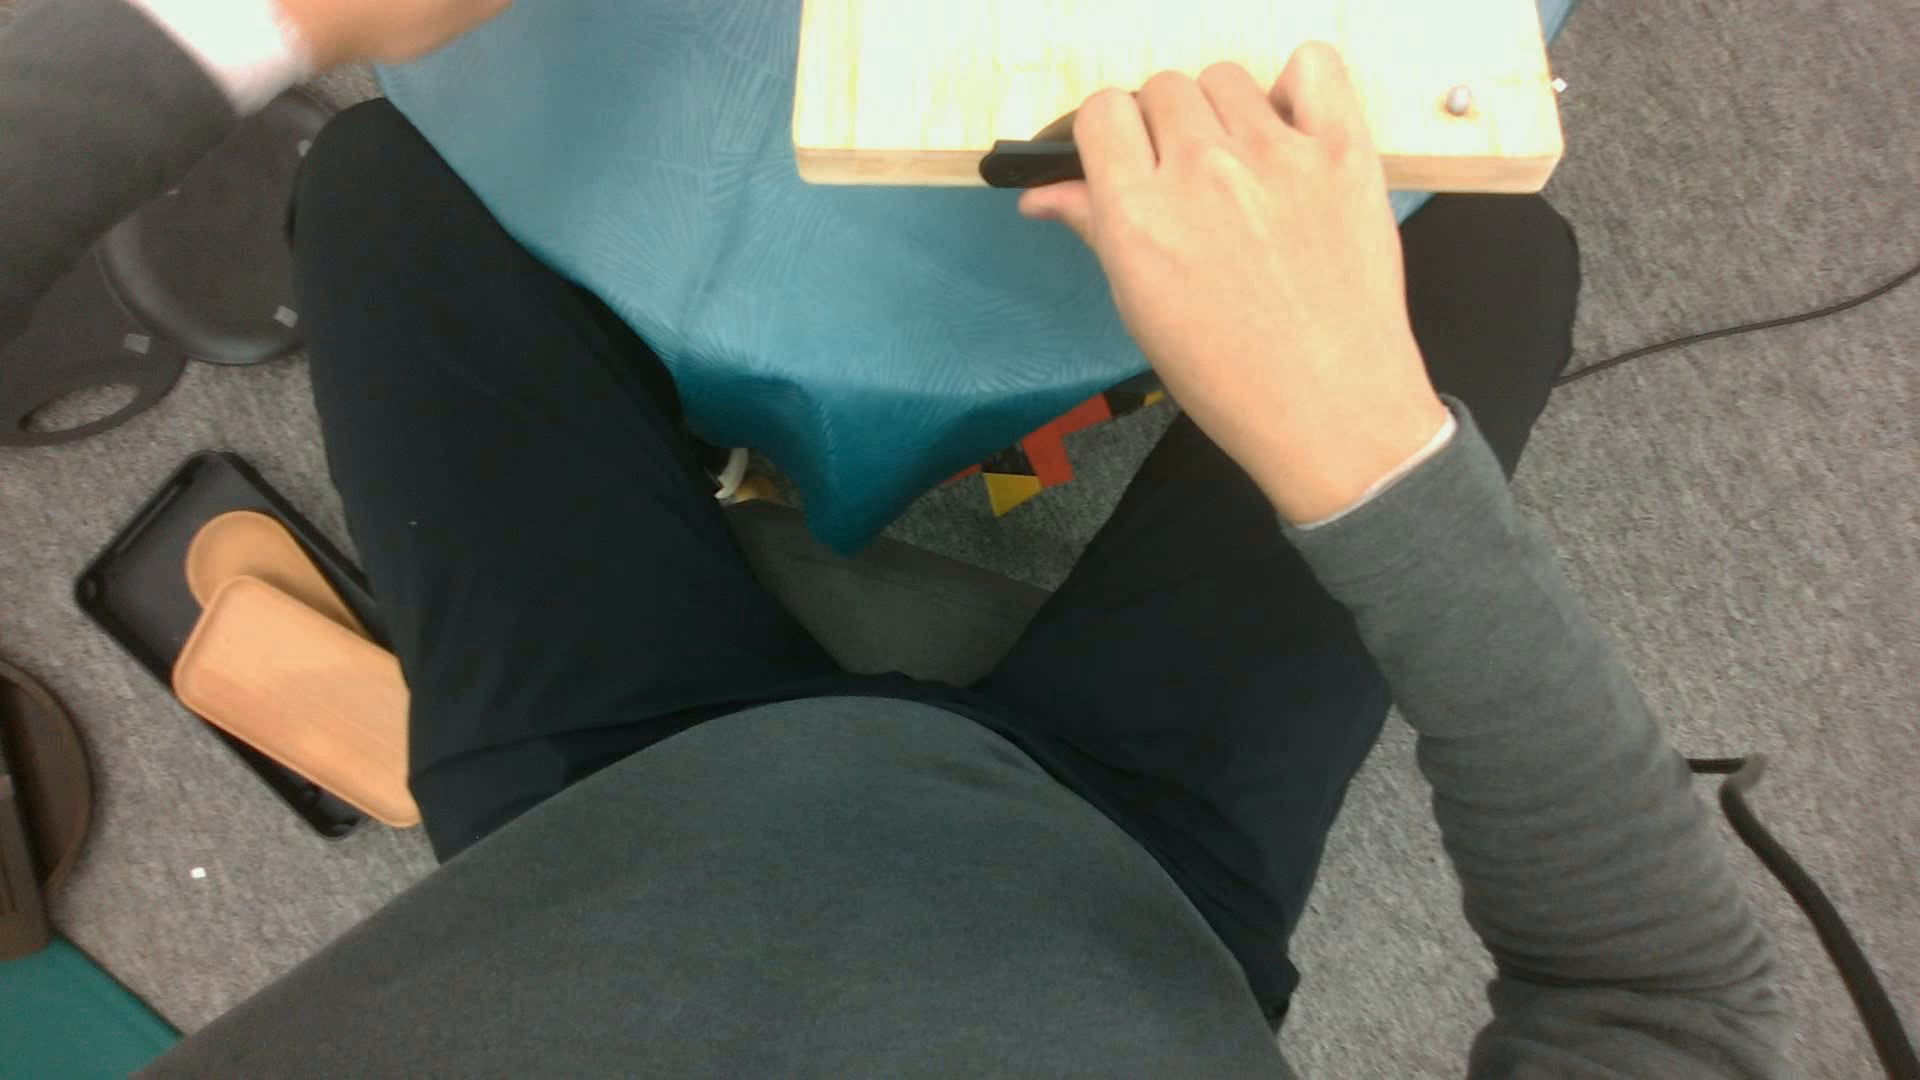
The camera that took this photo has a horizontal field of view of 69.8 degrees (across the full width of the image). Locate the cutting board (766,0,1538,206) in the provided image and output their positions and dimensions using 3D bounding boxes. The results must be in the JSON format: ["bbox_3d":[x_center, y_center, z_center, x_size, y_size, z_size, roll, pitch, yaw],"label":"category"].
[{"bbox_3d":[0.064,-0.268,0.511,0.251,0.023,0.350,0,64,0],"label":"cutting board"}]
